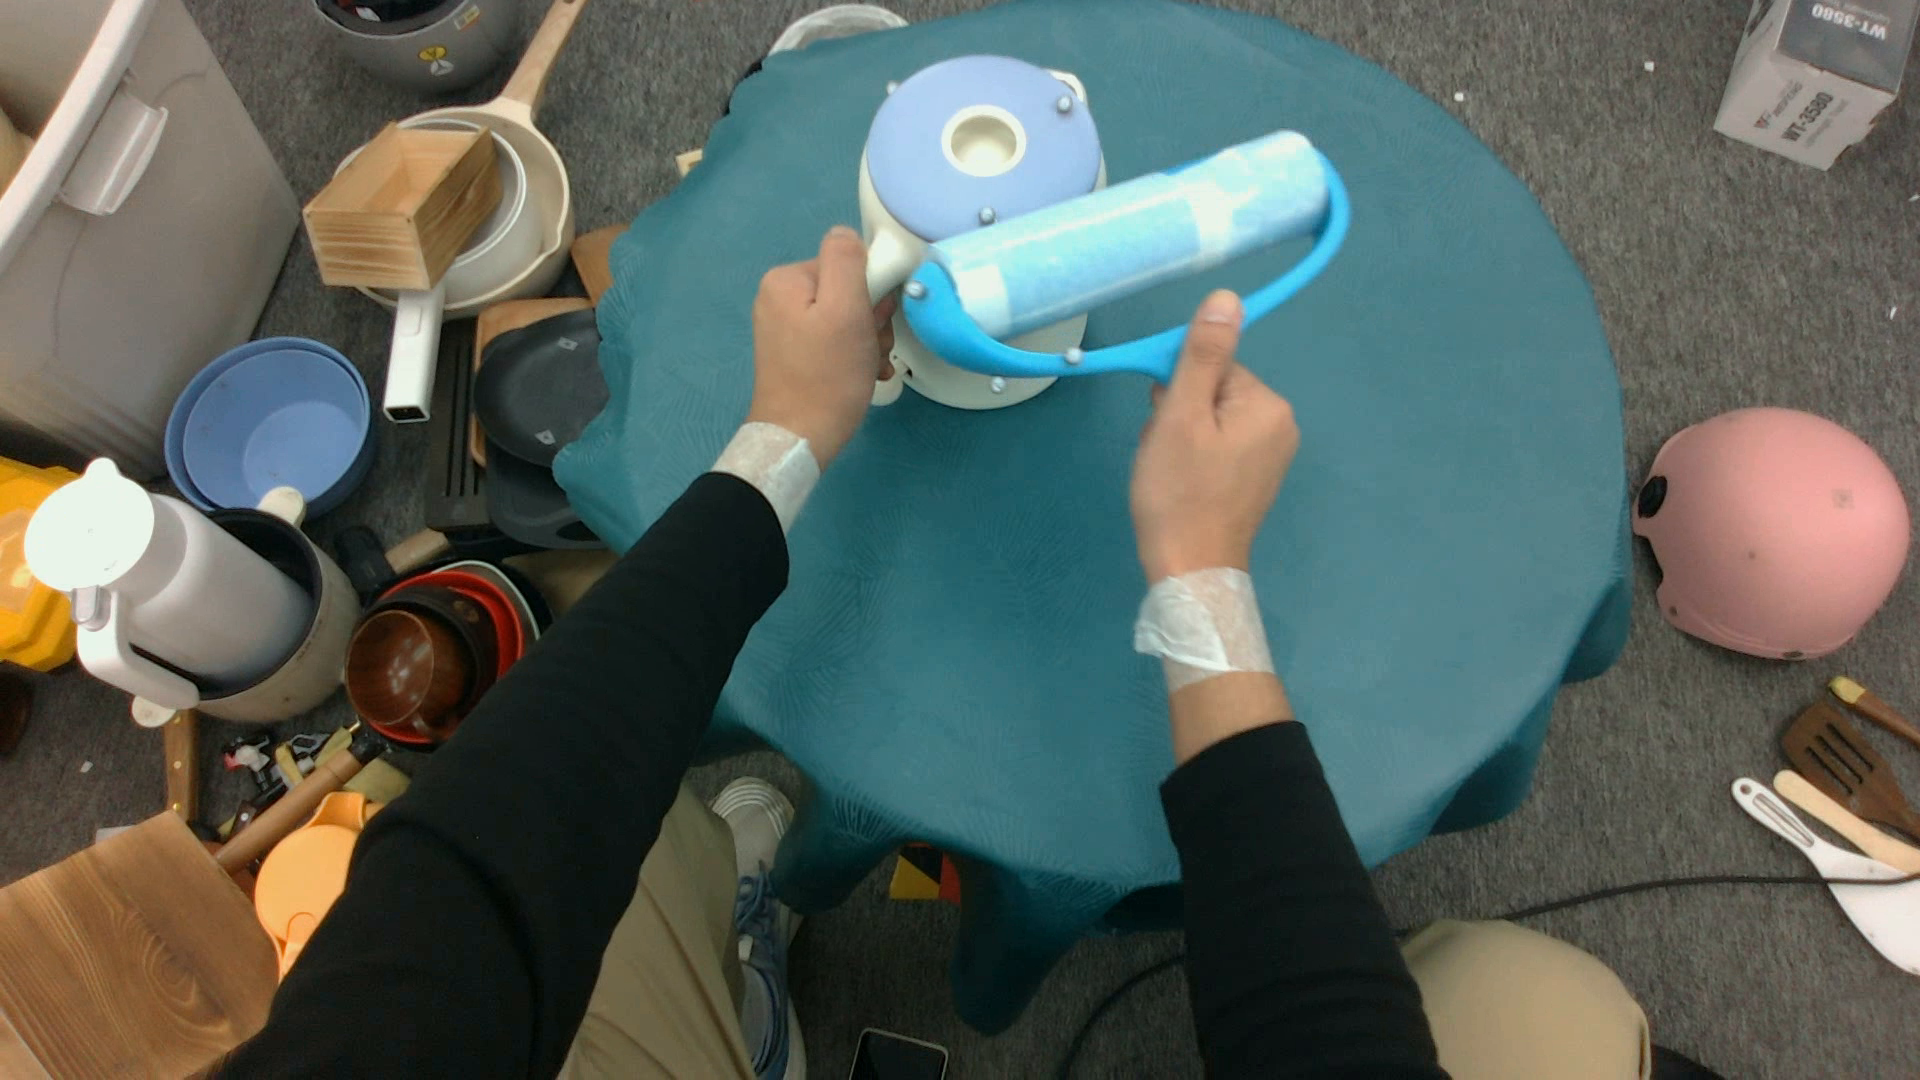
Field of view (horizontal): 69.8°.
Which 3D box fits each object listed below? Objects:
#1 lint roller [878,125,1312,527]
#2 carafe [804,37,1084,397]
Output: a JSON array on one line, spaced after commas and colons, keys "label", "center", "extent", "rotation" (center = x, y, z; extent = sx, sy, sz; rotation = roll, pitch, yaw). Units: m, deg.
[{"label": "lint roller", "center": [0.088, -0.093, 0.667], "extent": [0.229, 0.068, 0.180], "rotation": [-24, 96, -21]}, {"label": "carafe", "center": [-0.018, -0.158, 0.763], "extent": [0.132, 0.182, 0.191], "rotation": [40, 75, 14]}]
